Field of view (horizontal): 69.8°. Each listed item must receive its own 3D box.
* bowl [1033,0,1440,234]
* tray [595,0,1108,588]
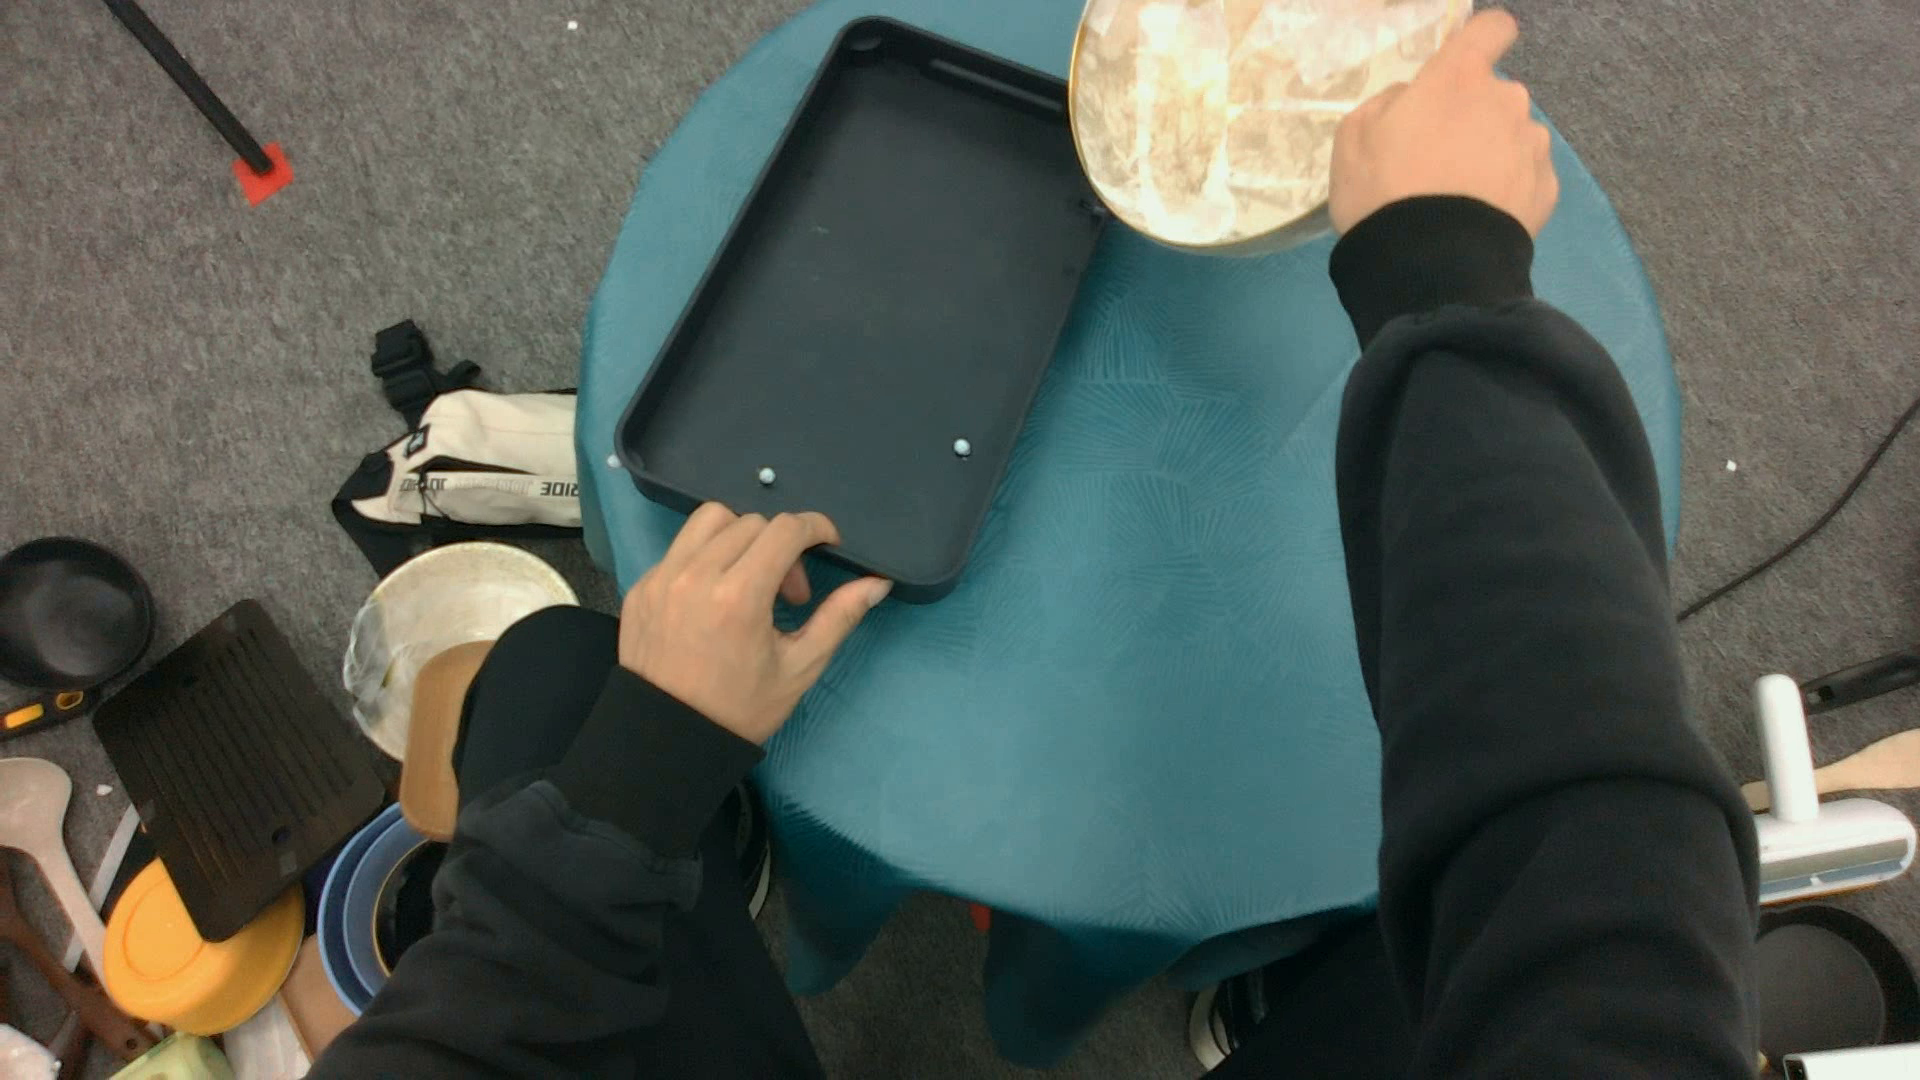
[{"bbox_3d":[0.148,-0.239,0.679,0.214,0.095,0.215,-6,81,40],"label":"bowl"},{"bbox_3d":[-0.039,-0.141,0.726,0.184,0.037,0.319,23,67,3],"label":"tray"}]
